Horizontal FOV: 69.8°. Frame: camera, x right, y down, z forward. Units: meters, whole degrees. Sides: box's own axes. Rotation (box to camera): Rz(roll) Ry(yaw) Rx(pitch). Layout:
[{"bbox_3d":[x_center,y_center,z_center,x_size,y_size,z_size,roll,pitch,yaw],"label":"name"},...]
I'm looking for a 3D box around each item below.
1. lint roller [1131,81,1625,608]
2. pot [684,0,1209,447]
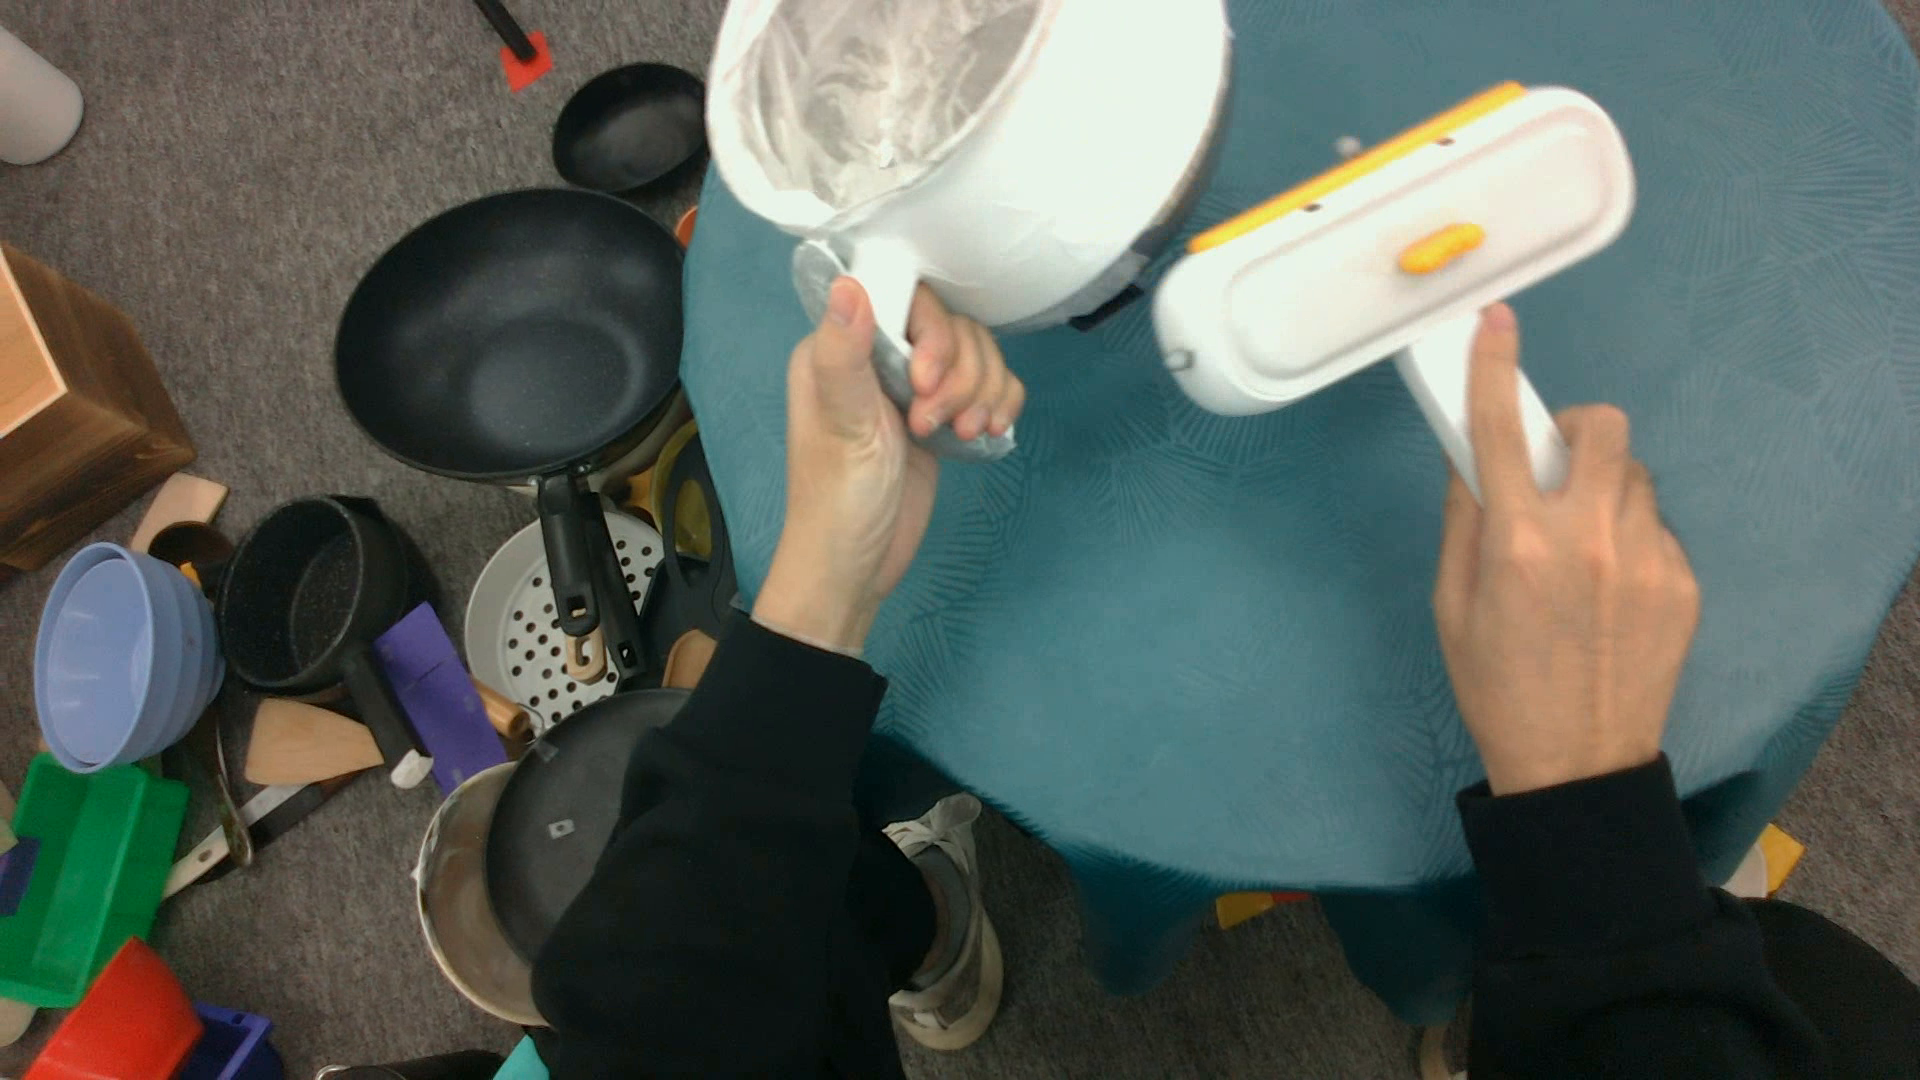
[{"bbox_3d":[0.186,-0.061,0.526,0.193,0.074,0.192,-30,94,-12],"label":"lint roller"},{"bbox_3d":[-0.007,-0.160,0.540,0.178,0.136,0.234,1,76,42],"label":"pot"}]
